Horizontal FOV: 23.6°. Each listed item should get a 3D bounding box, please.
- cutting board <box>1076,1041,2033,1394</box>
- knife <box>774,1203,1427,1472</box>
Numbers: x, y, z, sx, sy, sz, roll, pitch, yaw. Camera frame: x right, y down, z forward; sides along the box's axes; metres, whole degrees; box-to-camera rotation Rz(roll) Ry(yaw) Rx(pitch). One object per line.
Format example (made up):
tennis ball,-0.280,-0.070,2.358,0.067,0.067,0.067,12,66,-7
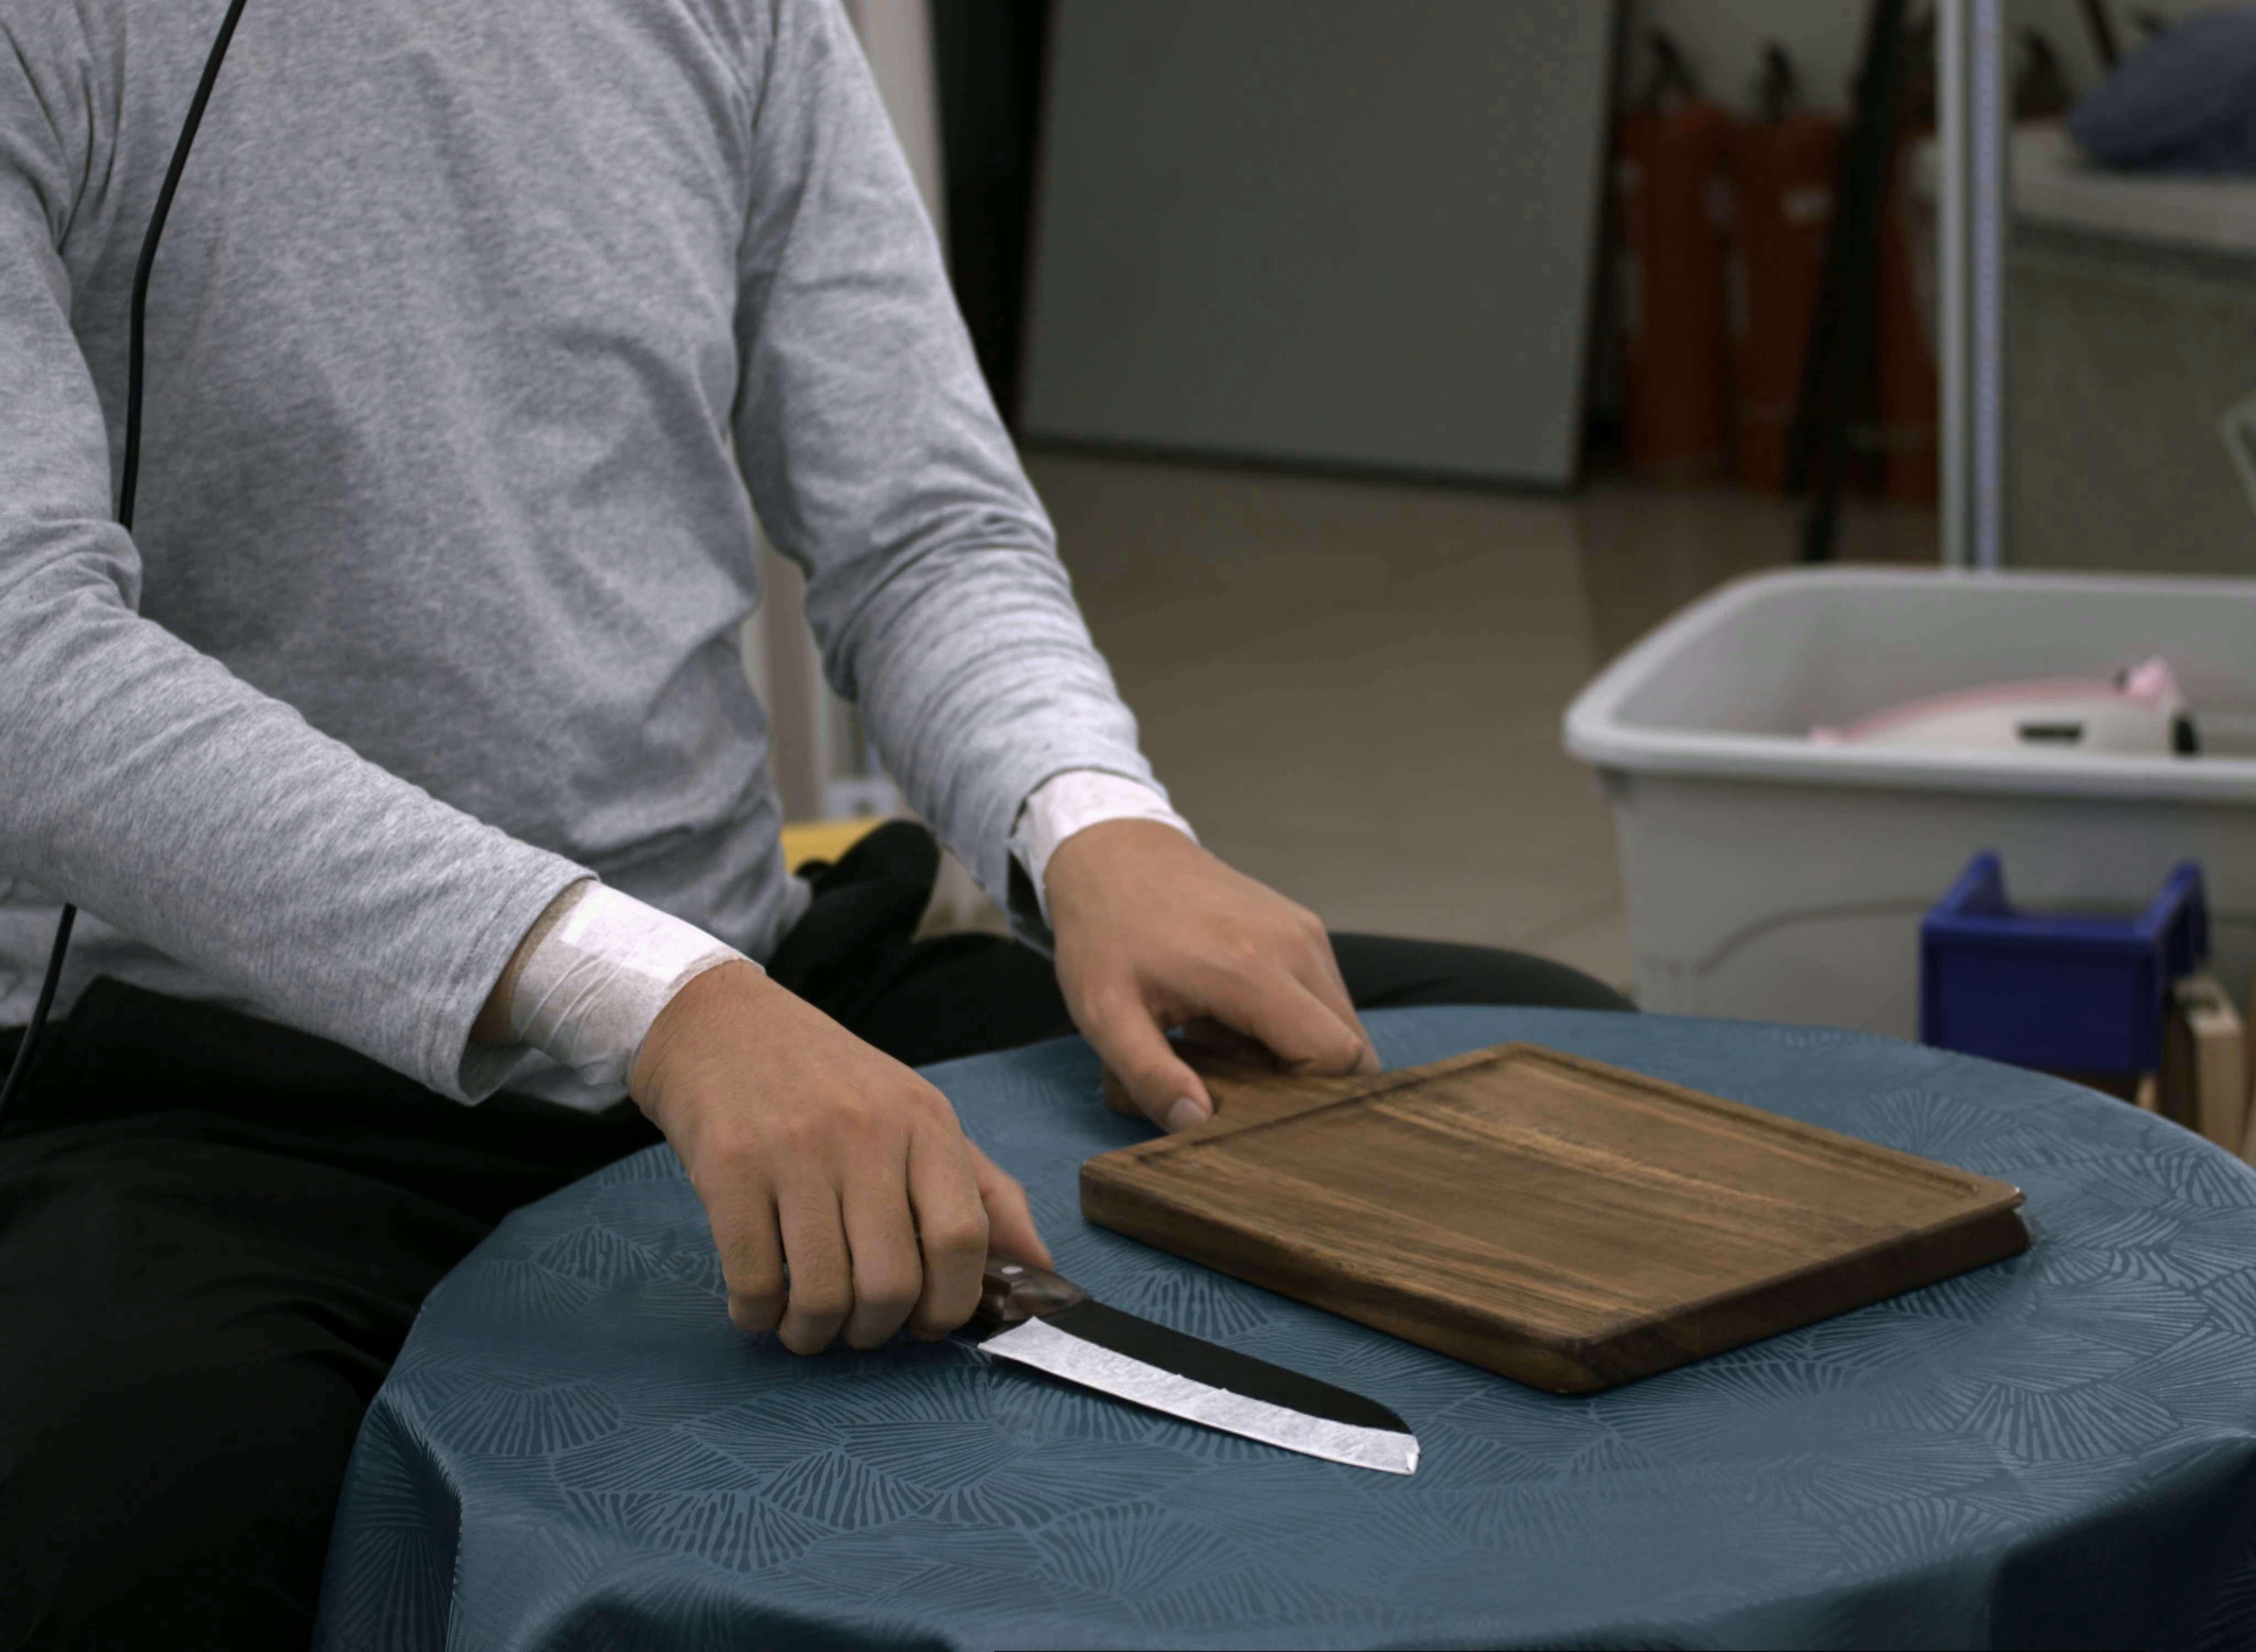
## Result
cutting board,0.102,0.112,1.740,0.196,0.023,0.356,-13,16,-34
knife,-0.012,0.154,1.613,0.049,0.020,0.292,-21,23,-37
